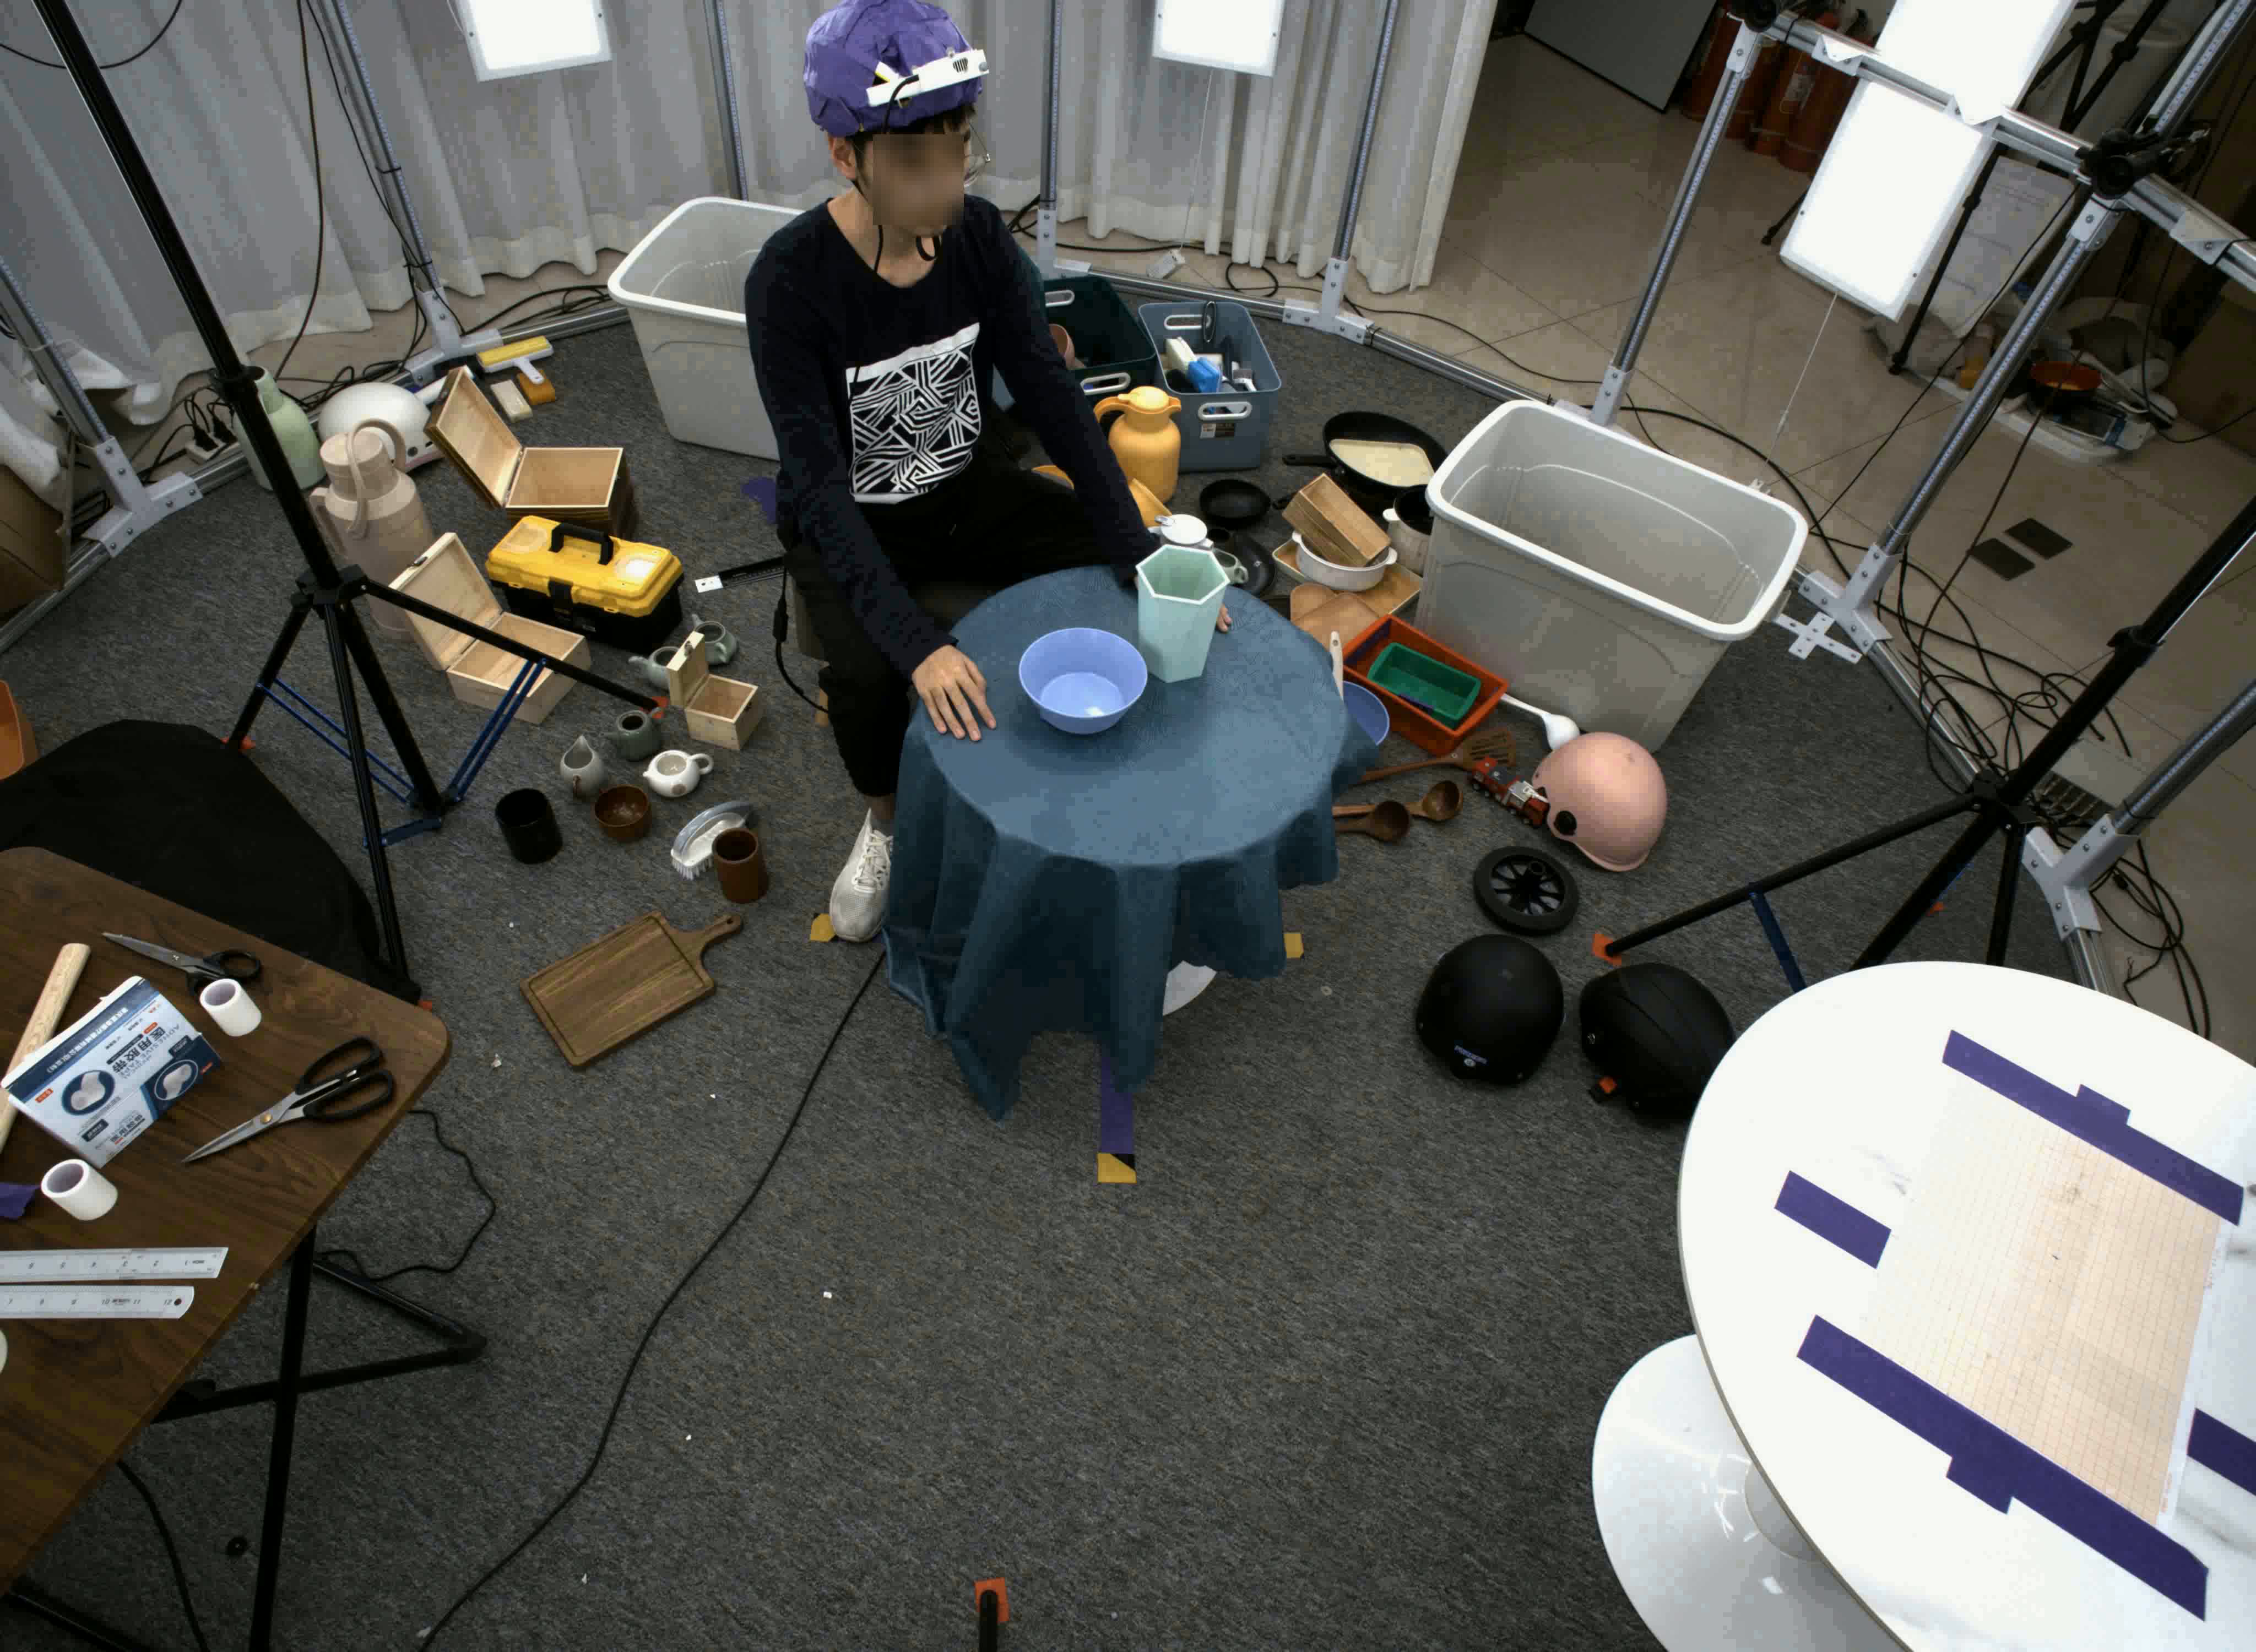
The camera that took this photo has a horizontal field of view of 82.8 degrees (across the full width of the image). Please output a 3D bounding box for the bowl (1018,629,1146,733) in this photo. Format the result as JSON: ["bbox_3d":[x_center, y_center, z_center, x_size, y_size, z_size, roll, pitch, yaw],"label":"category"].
[{"bbox_3d":[-0.064,-0.193,1.785,0.176,0.068,0.180,2,48,-2],"label":"bowl"}]

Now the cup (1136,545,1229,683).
[{"bbox_3d":[0.071,-0.297,1.826,0.116,0.159,0.132,31,53,24],"label":"cup"}]
